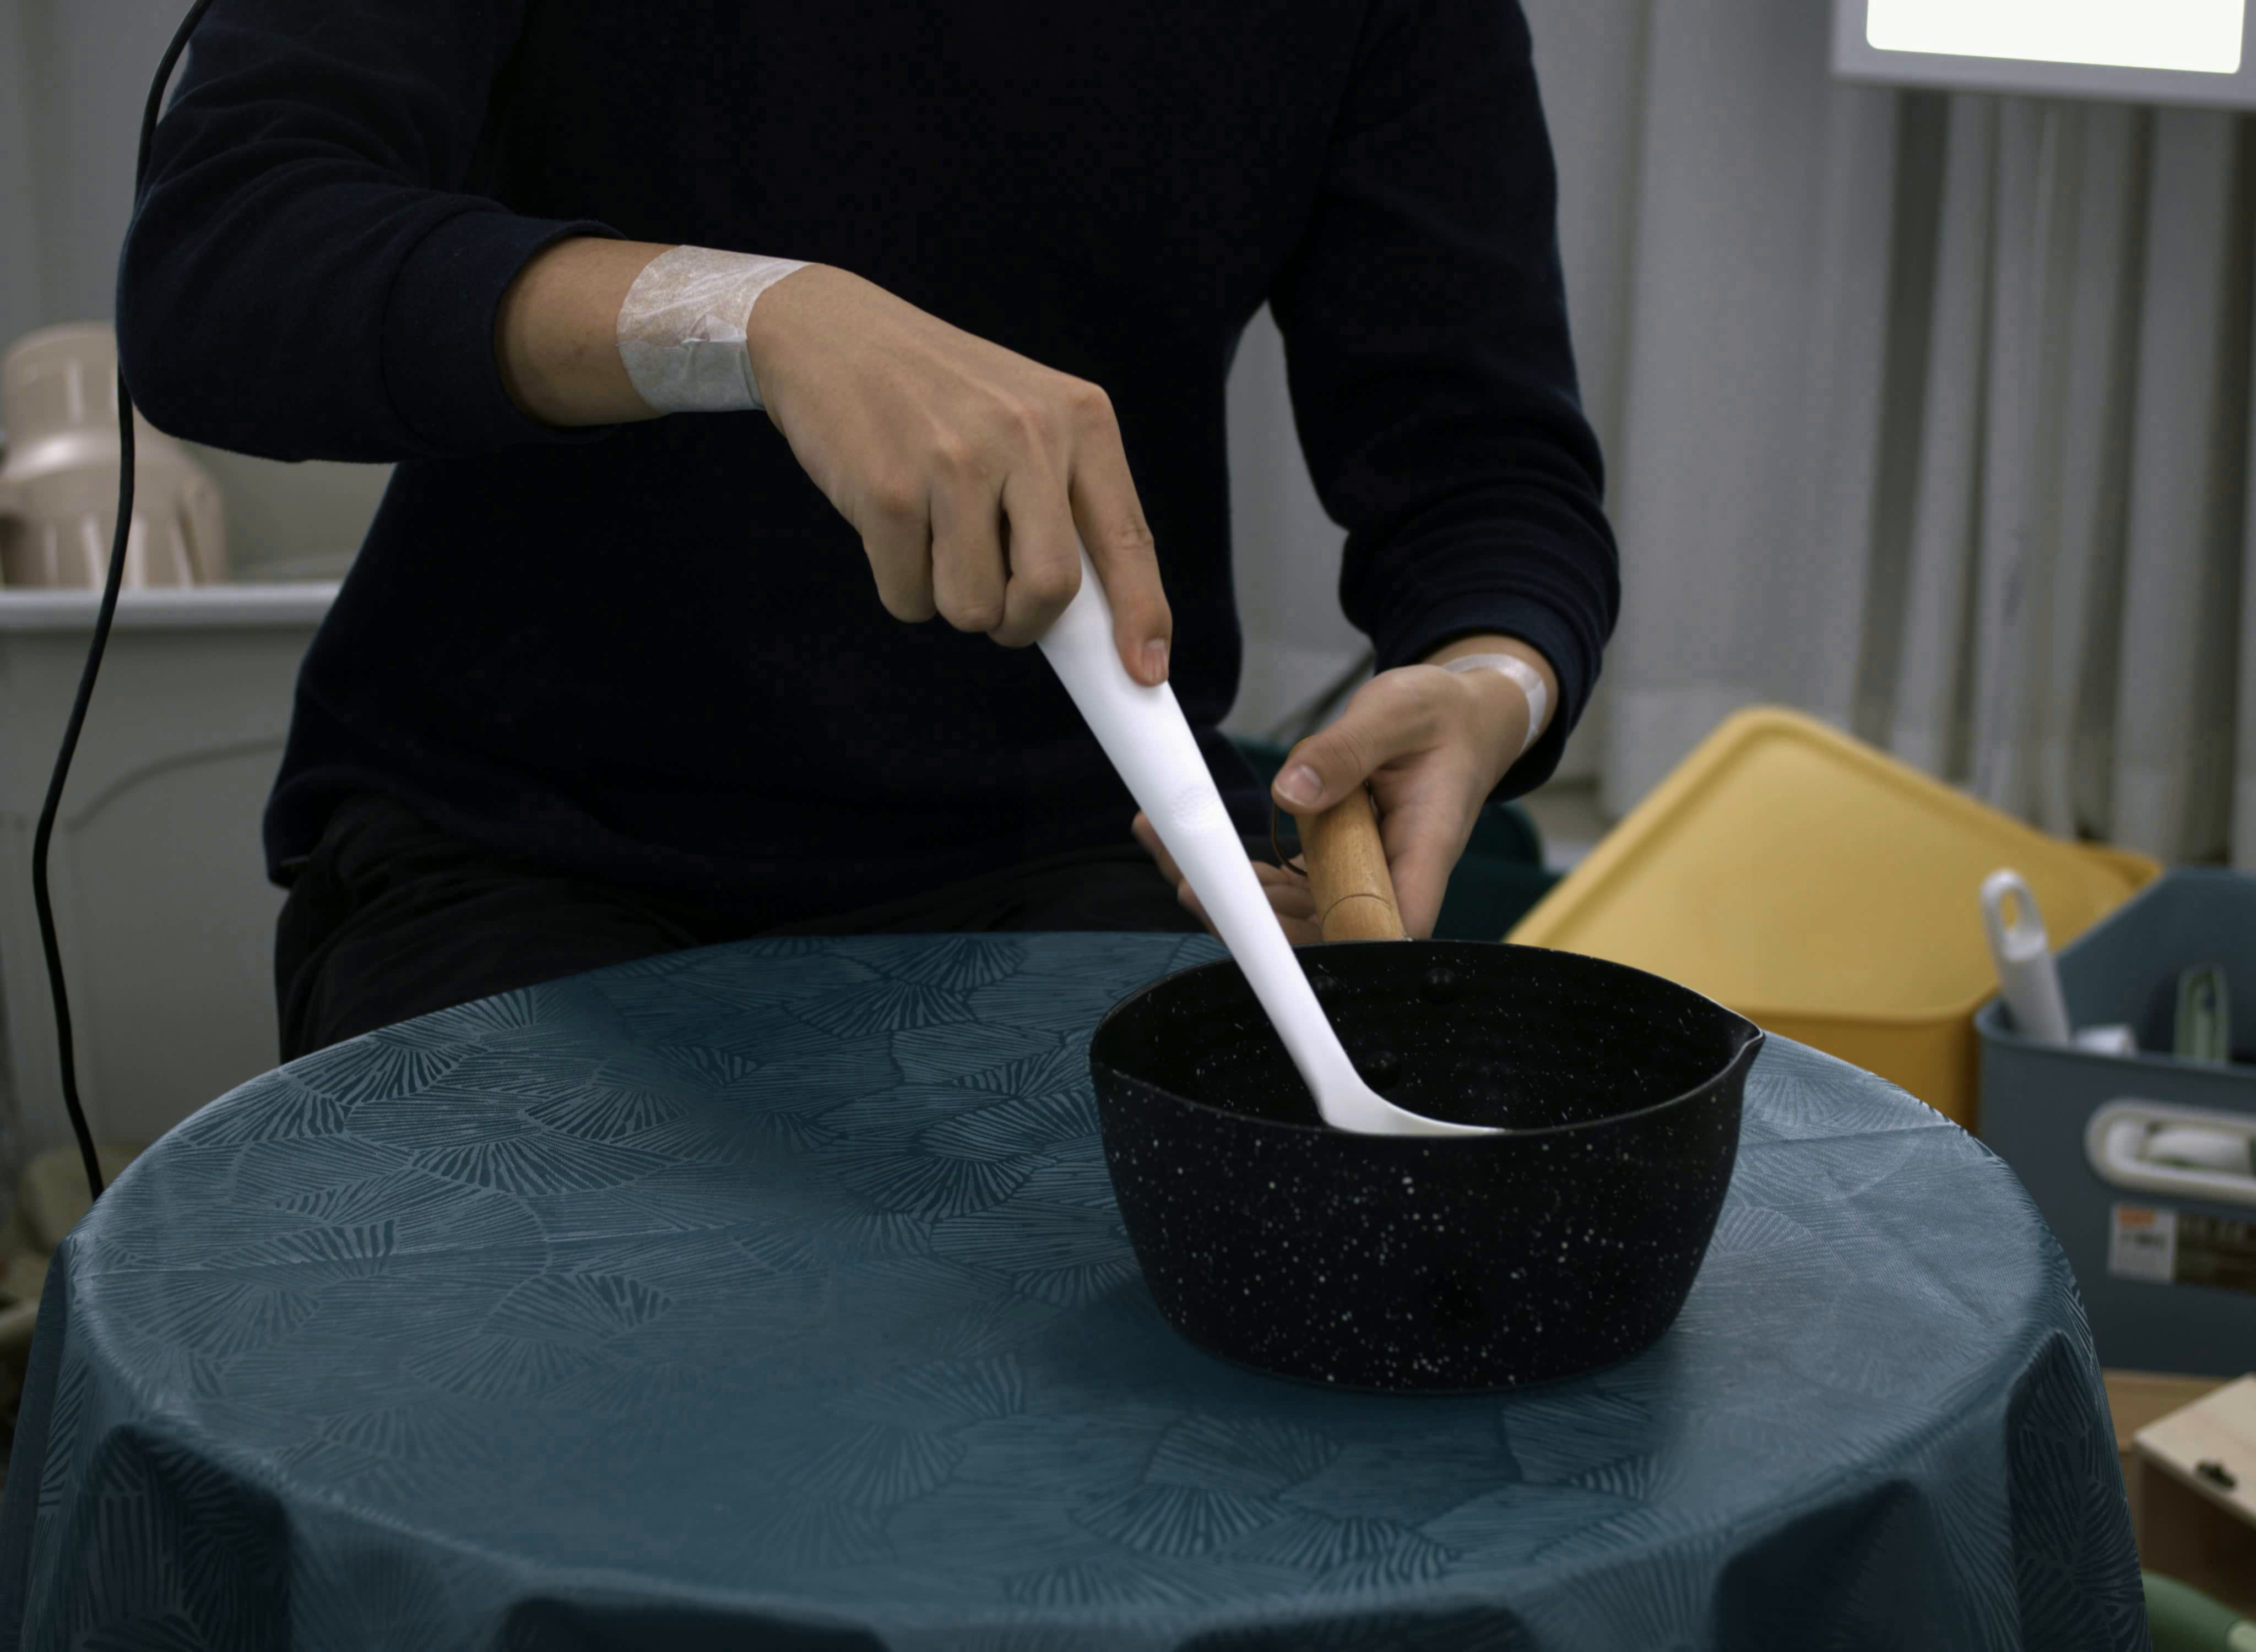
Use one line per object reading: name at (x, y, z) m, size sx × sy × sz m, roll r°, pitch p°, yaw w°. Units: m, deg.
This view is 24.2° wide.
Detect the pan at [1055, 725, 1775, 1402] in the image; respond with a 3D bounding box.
pan at (0.076, 0.066, 1.589) m, size 0.207 × 0.109 × 0.340 m, roll -2°, pitch 17°, yaw -6°

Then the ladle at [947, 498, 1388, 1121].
ladle at (0.030, 0.024, 1.528) m, size 0.090 × 0.291 × 0.070 m, roll -27°, pitch -15°, yaw -12°
